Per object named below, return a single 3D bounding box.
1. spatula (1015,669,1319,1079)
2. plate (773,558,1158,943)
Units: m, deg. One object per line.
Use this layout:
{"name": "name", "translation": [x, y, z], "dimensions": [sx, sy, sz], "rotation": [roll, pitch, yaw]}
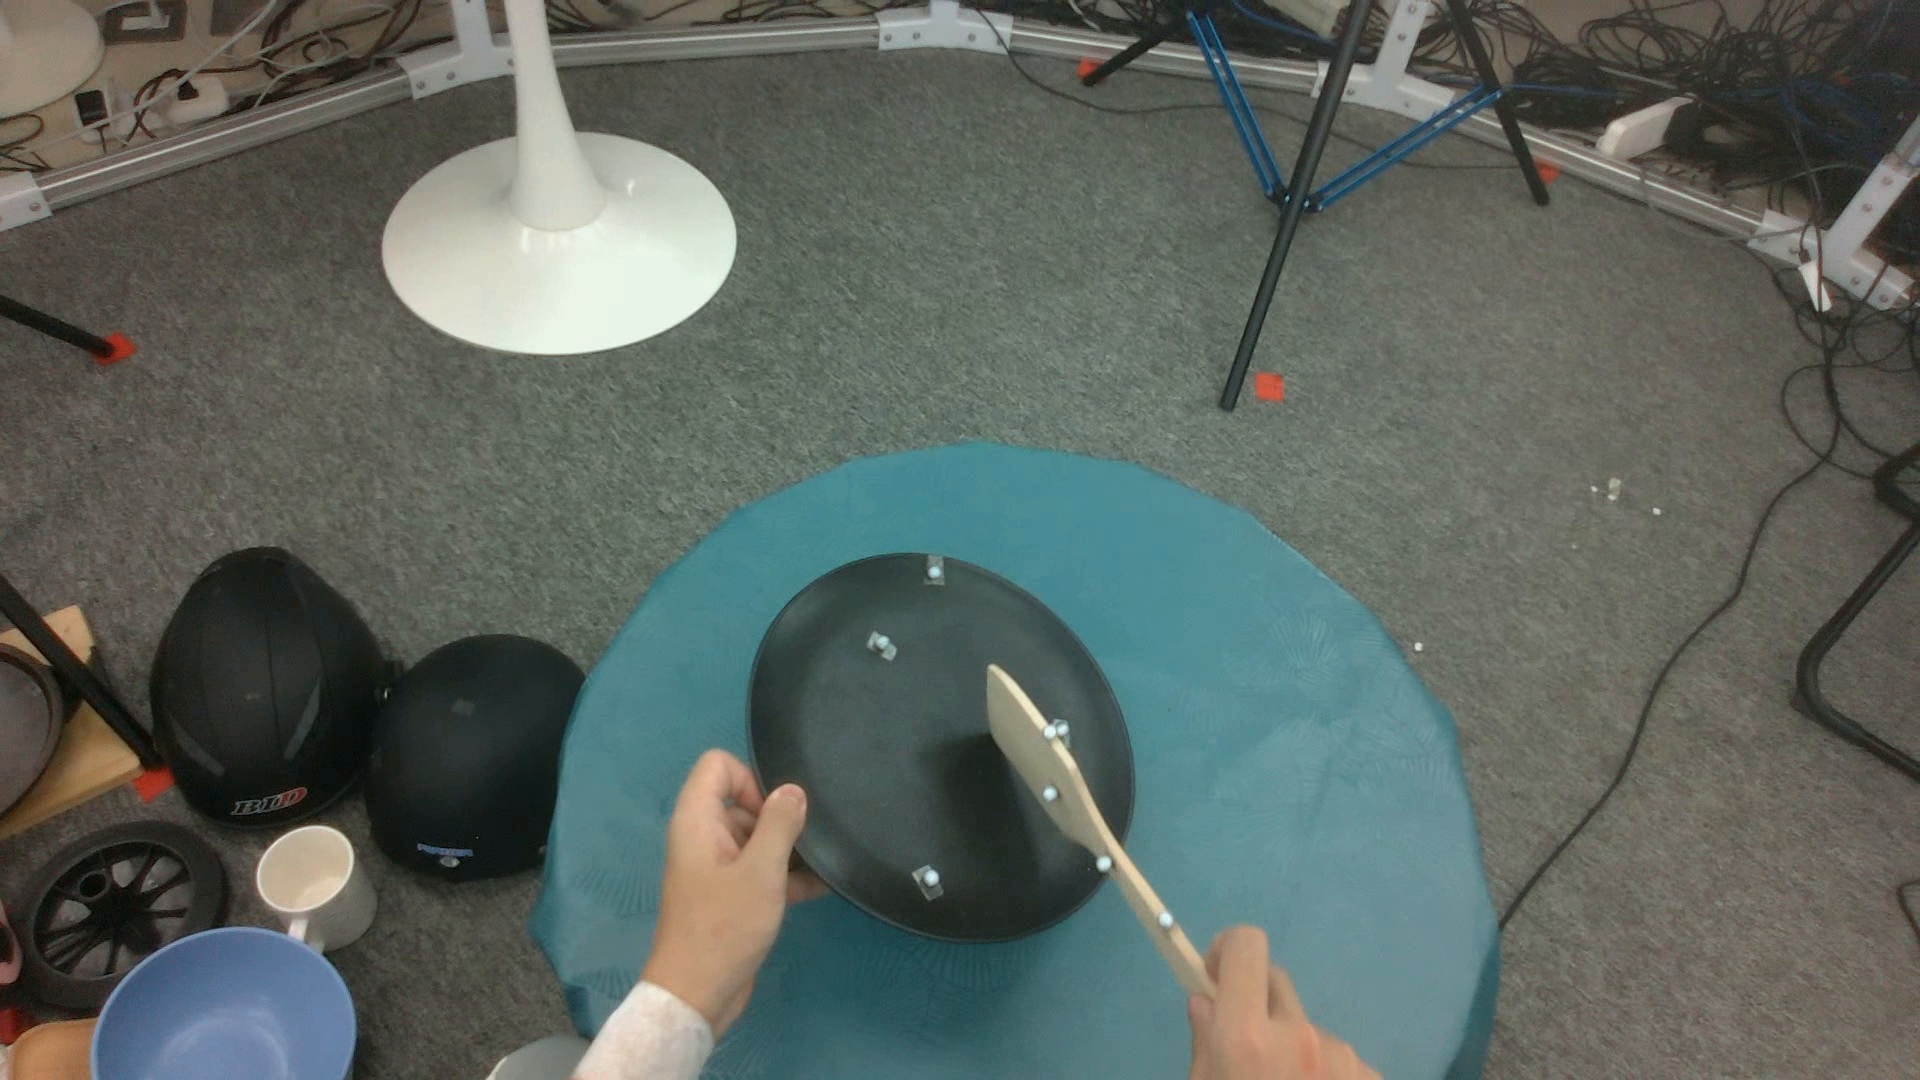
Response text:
{"name": "spatula", "translation": [0.105, 0.182, 0.717], "dimensions": [0.011, 0.072, 0.293], "rotation": [-23, 49, -17]}
{"name": "plate", "translation": [0.005, 0.119, 0.811], "dimensions": [0.244, 0.023, 0.245], "rotation": [14, 52, -18]}
